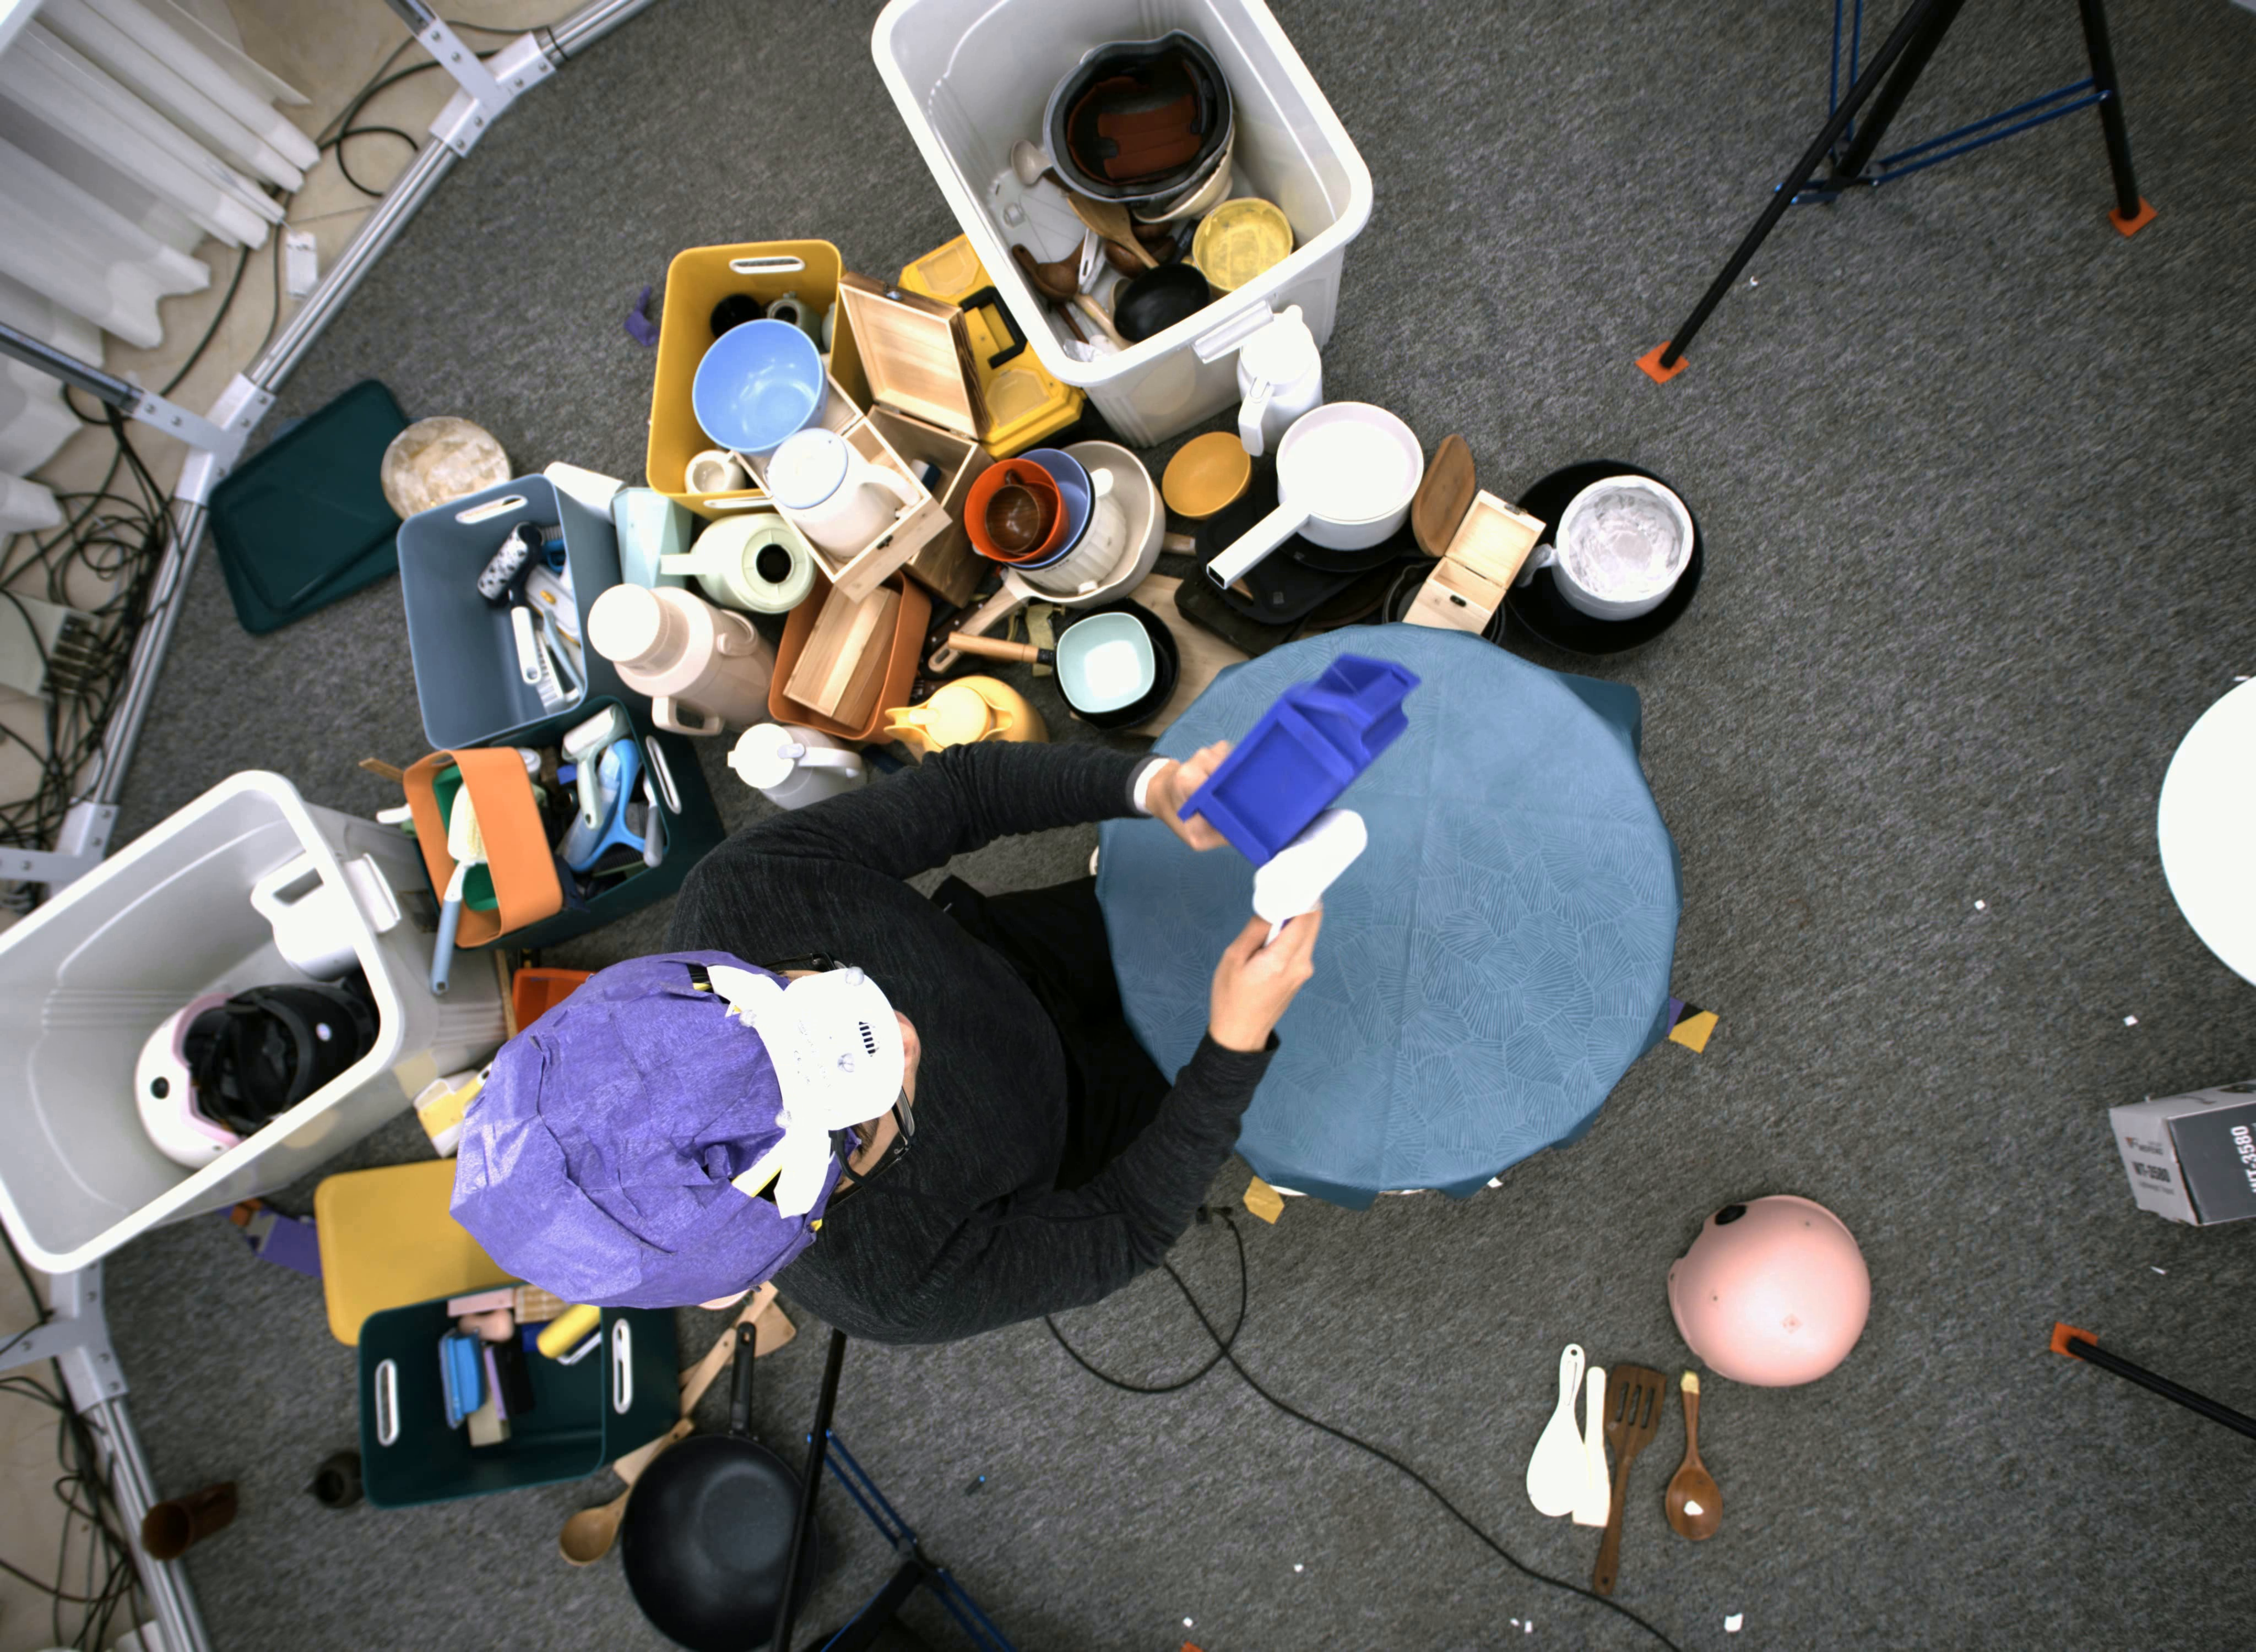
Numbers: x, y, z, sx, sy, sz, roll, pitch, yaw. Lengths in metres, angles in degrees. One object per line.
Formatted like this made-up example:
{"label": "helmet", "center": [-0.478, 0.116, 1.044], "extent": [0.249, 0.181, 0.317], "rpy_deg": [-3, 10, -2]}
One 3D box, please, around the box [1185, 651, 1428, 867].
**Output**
{"label": "box", "center": [0.149, -0.059, 1.094], "extent": [0.081, 0.122, 0.184], "rpy_deg": [44, 127, 7]}

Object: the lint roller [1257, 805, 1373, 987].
{"label": "lint roller", "center": [0.143, 0.077, 1.144], "extent": [0.050, 0.130, 0.185], "rpy_deg": [28, 133, 22]}
